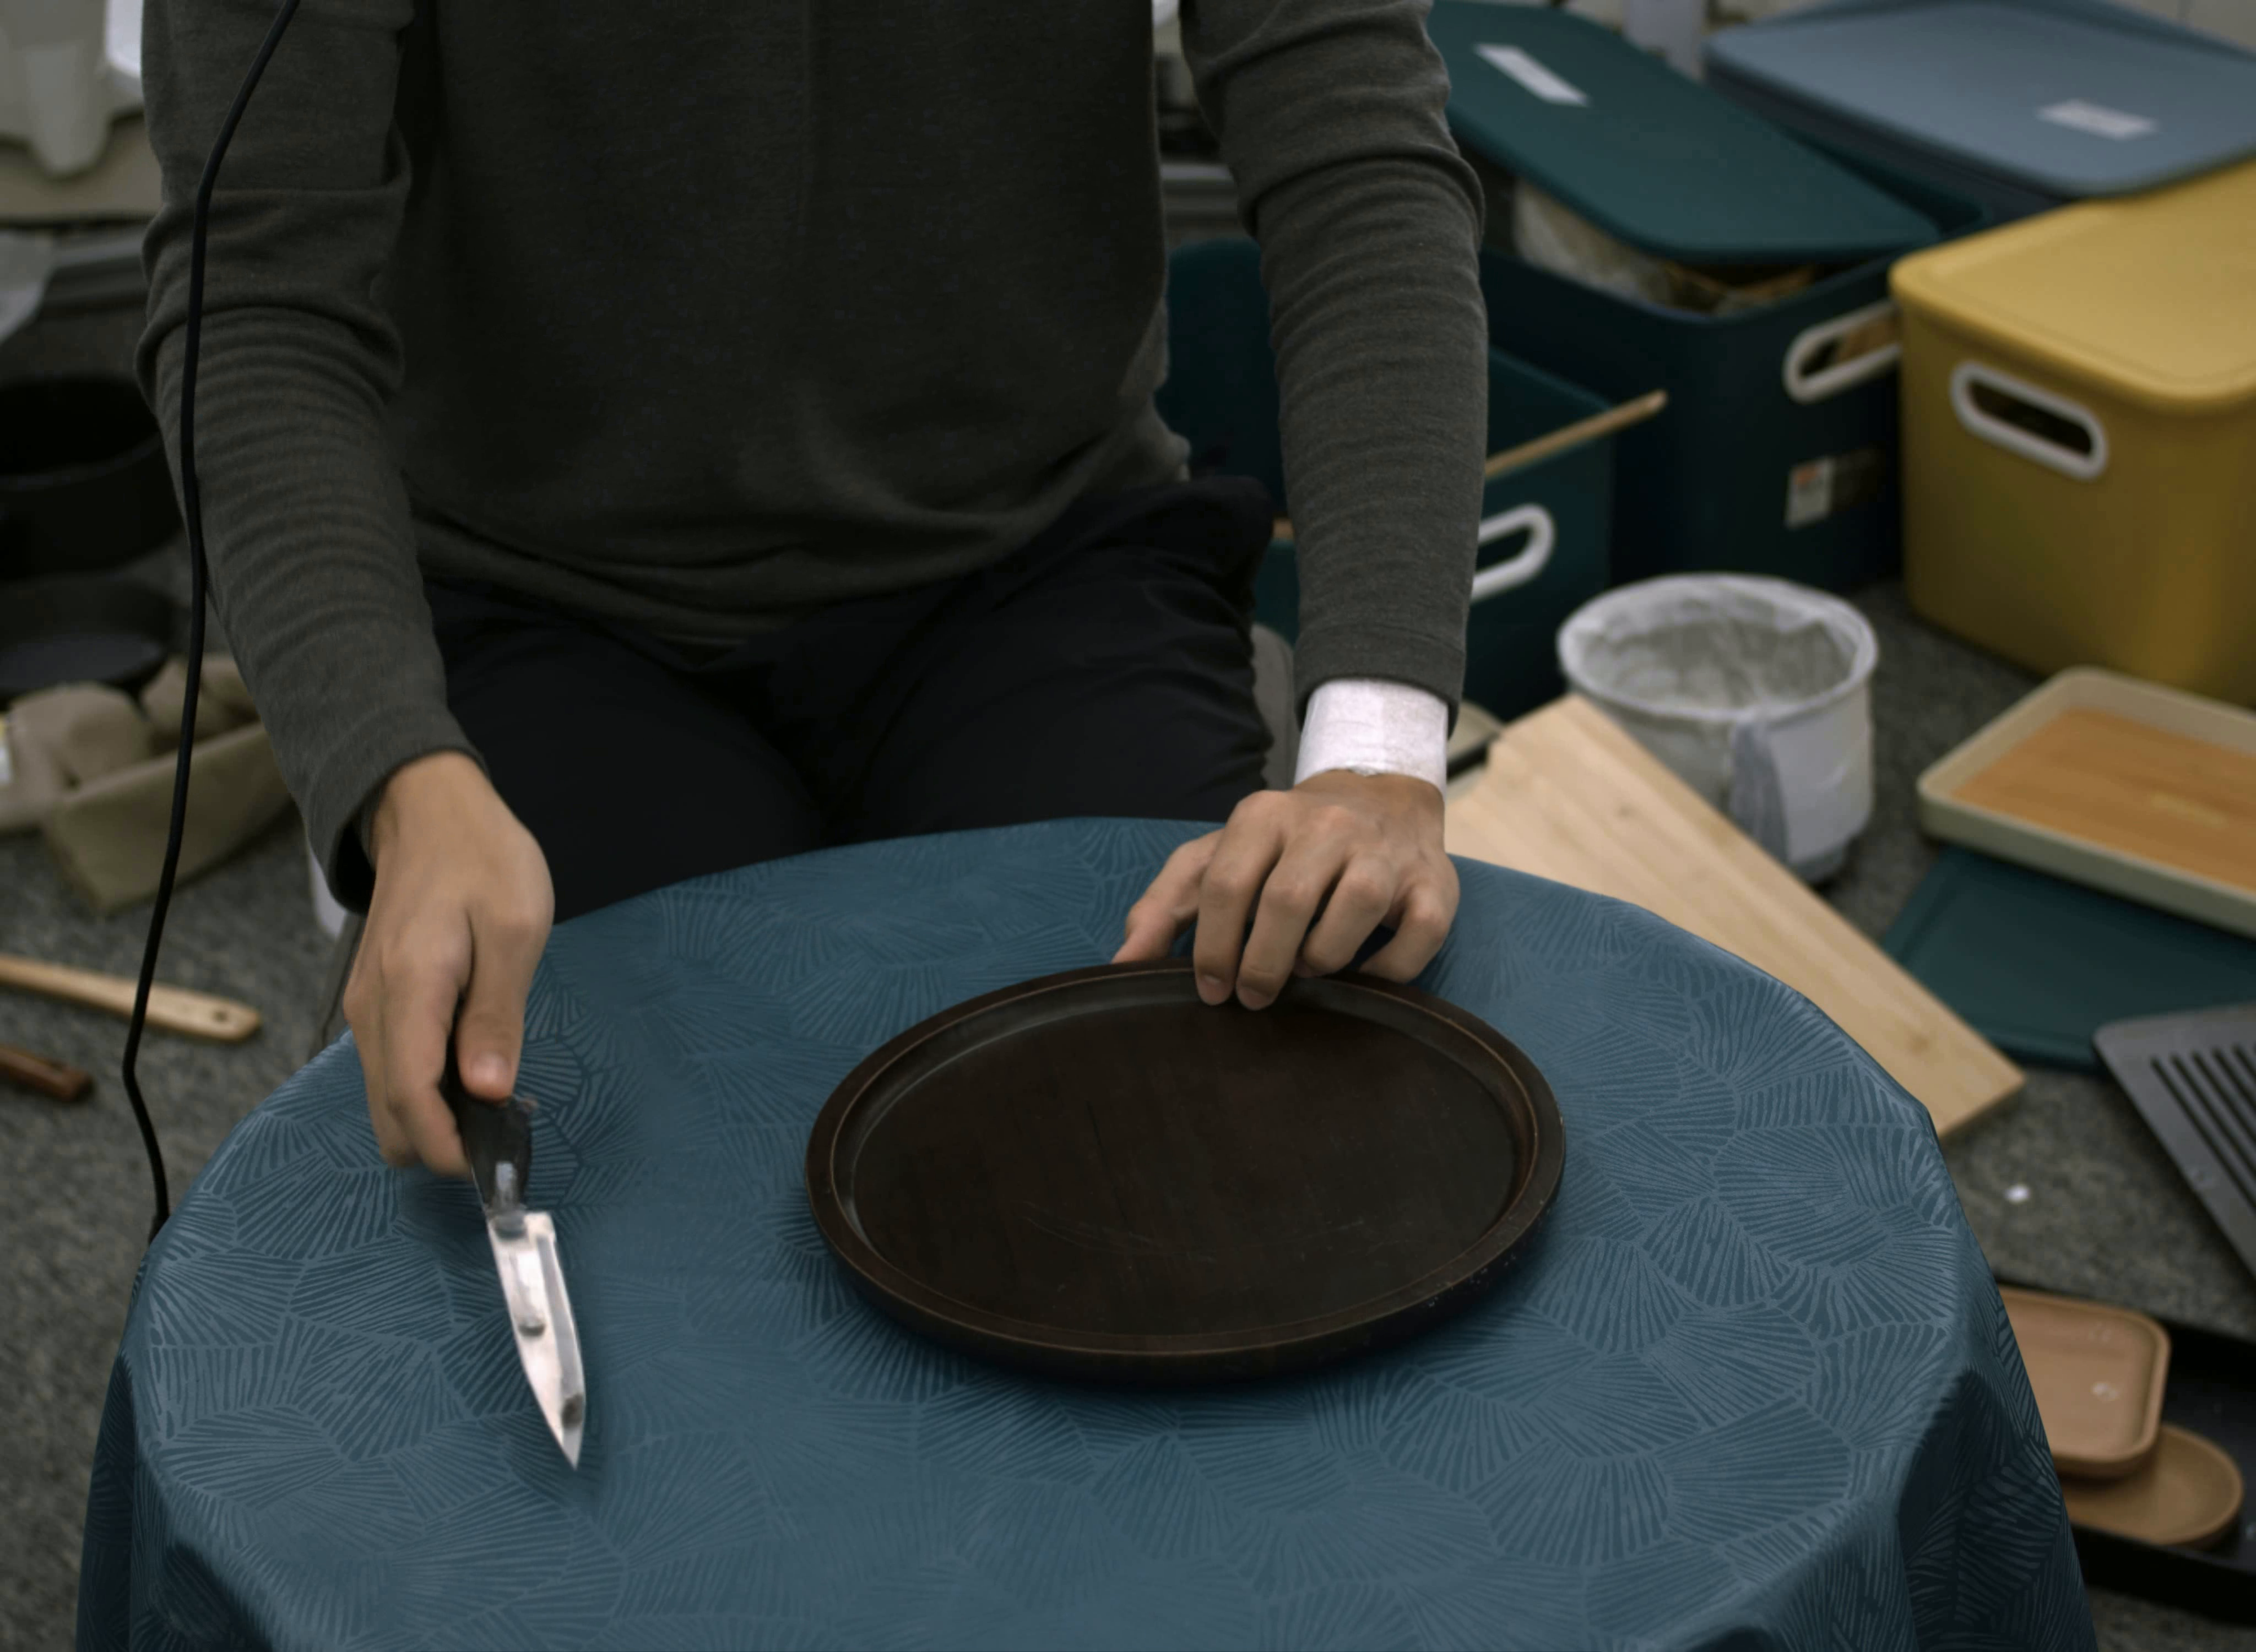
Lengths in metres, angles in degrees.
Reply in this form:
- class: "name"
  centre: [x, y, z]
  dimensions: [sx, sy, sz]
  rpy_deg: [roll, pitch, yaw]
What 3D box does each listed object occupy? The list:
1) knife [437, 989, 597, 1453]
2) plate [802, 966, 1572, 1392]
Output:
- class: "knife"
  centre: [-0.197, 0.125, 1.799]
  dimensions: [0.024, 0.016, 0.241]
  rpy_deg: [4, 32, -20]
- class: "plate"
  centre: [0.020, 0.114, 1.851]
  dimensions: [0.253, 0.029, 0.259]
  rpy_deg: [-1, 28, 1]
